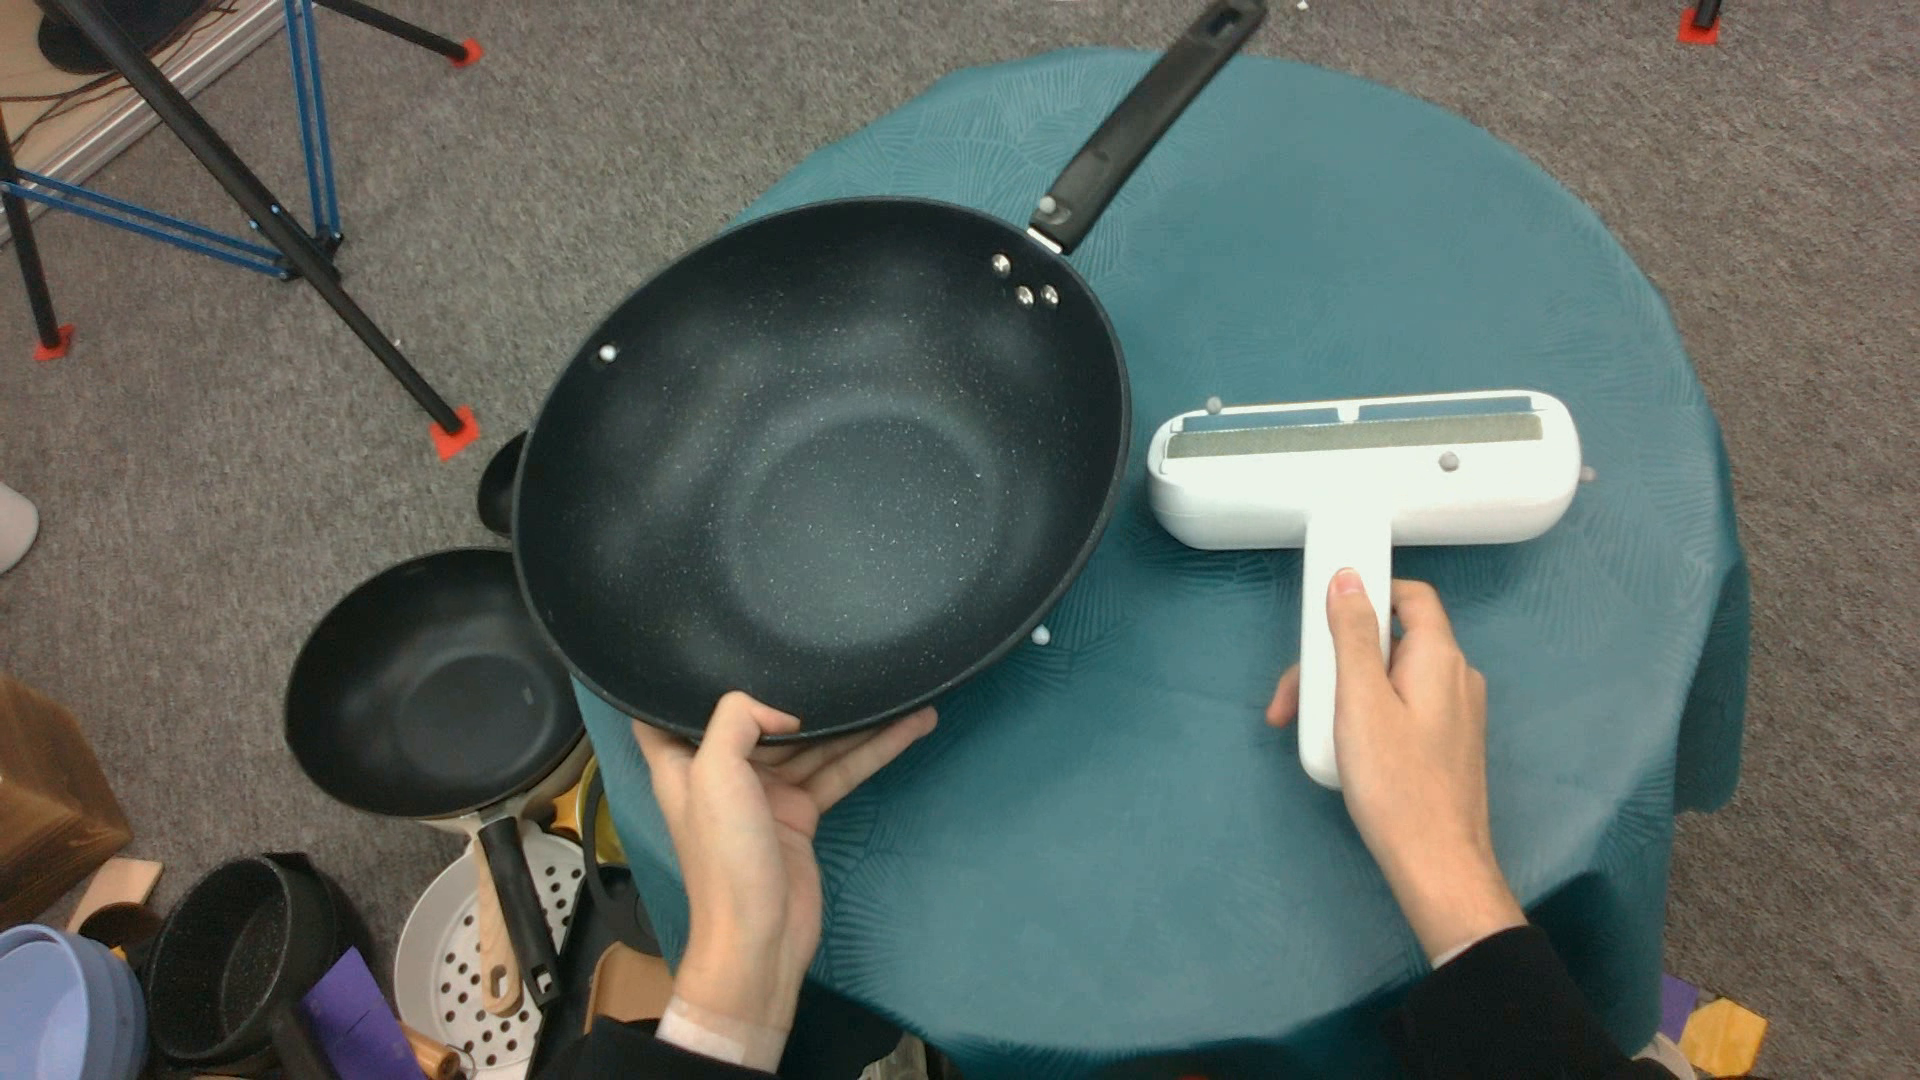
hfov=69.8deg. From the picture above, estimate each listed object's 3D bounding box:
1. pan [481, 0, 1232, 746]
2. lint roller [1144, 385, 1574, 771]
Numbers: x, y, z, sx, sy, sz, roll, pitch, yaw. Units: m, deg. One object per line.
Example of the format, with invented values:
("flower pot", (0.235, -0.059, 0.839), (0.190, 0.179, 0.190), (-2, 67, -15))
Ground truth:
("pan", (-0.021, -0.096, 0.699), (0.310, 0.111, 0.478), (38, 76, 27))
("lint roller", (0.169, 0.009, 0.618), (0.192, 0.074, 0.193), (4, 52, 19))
